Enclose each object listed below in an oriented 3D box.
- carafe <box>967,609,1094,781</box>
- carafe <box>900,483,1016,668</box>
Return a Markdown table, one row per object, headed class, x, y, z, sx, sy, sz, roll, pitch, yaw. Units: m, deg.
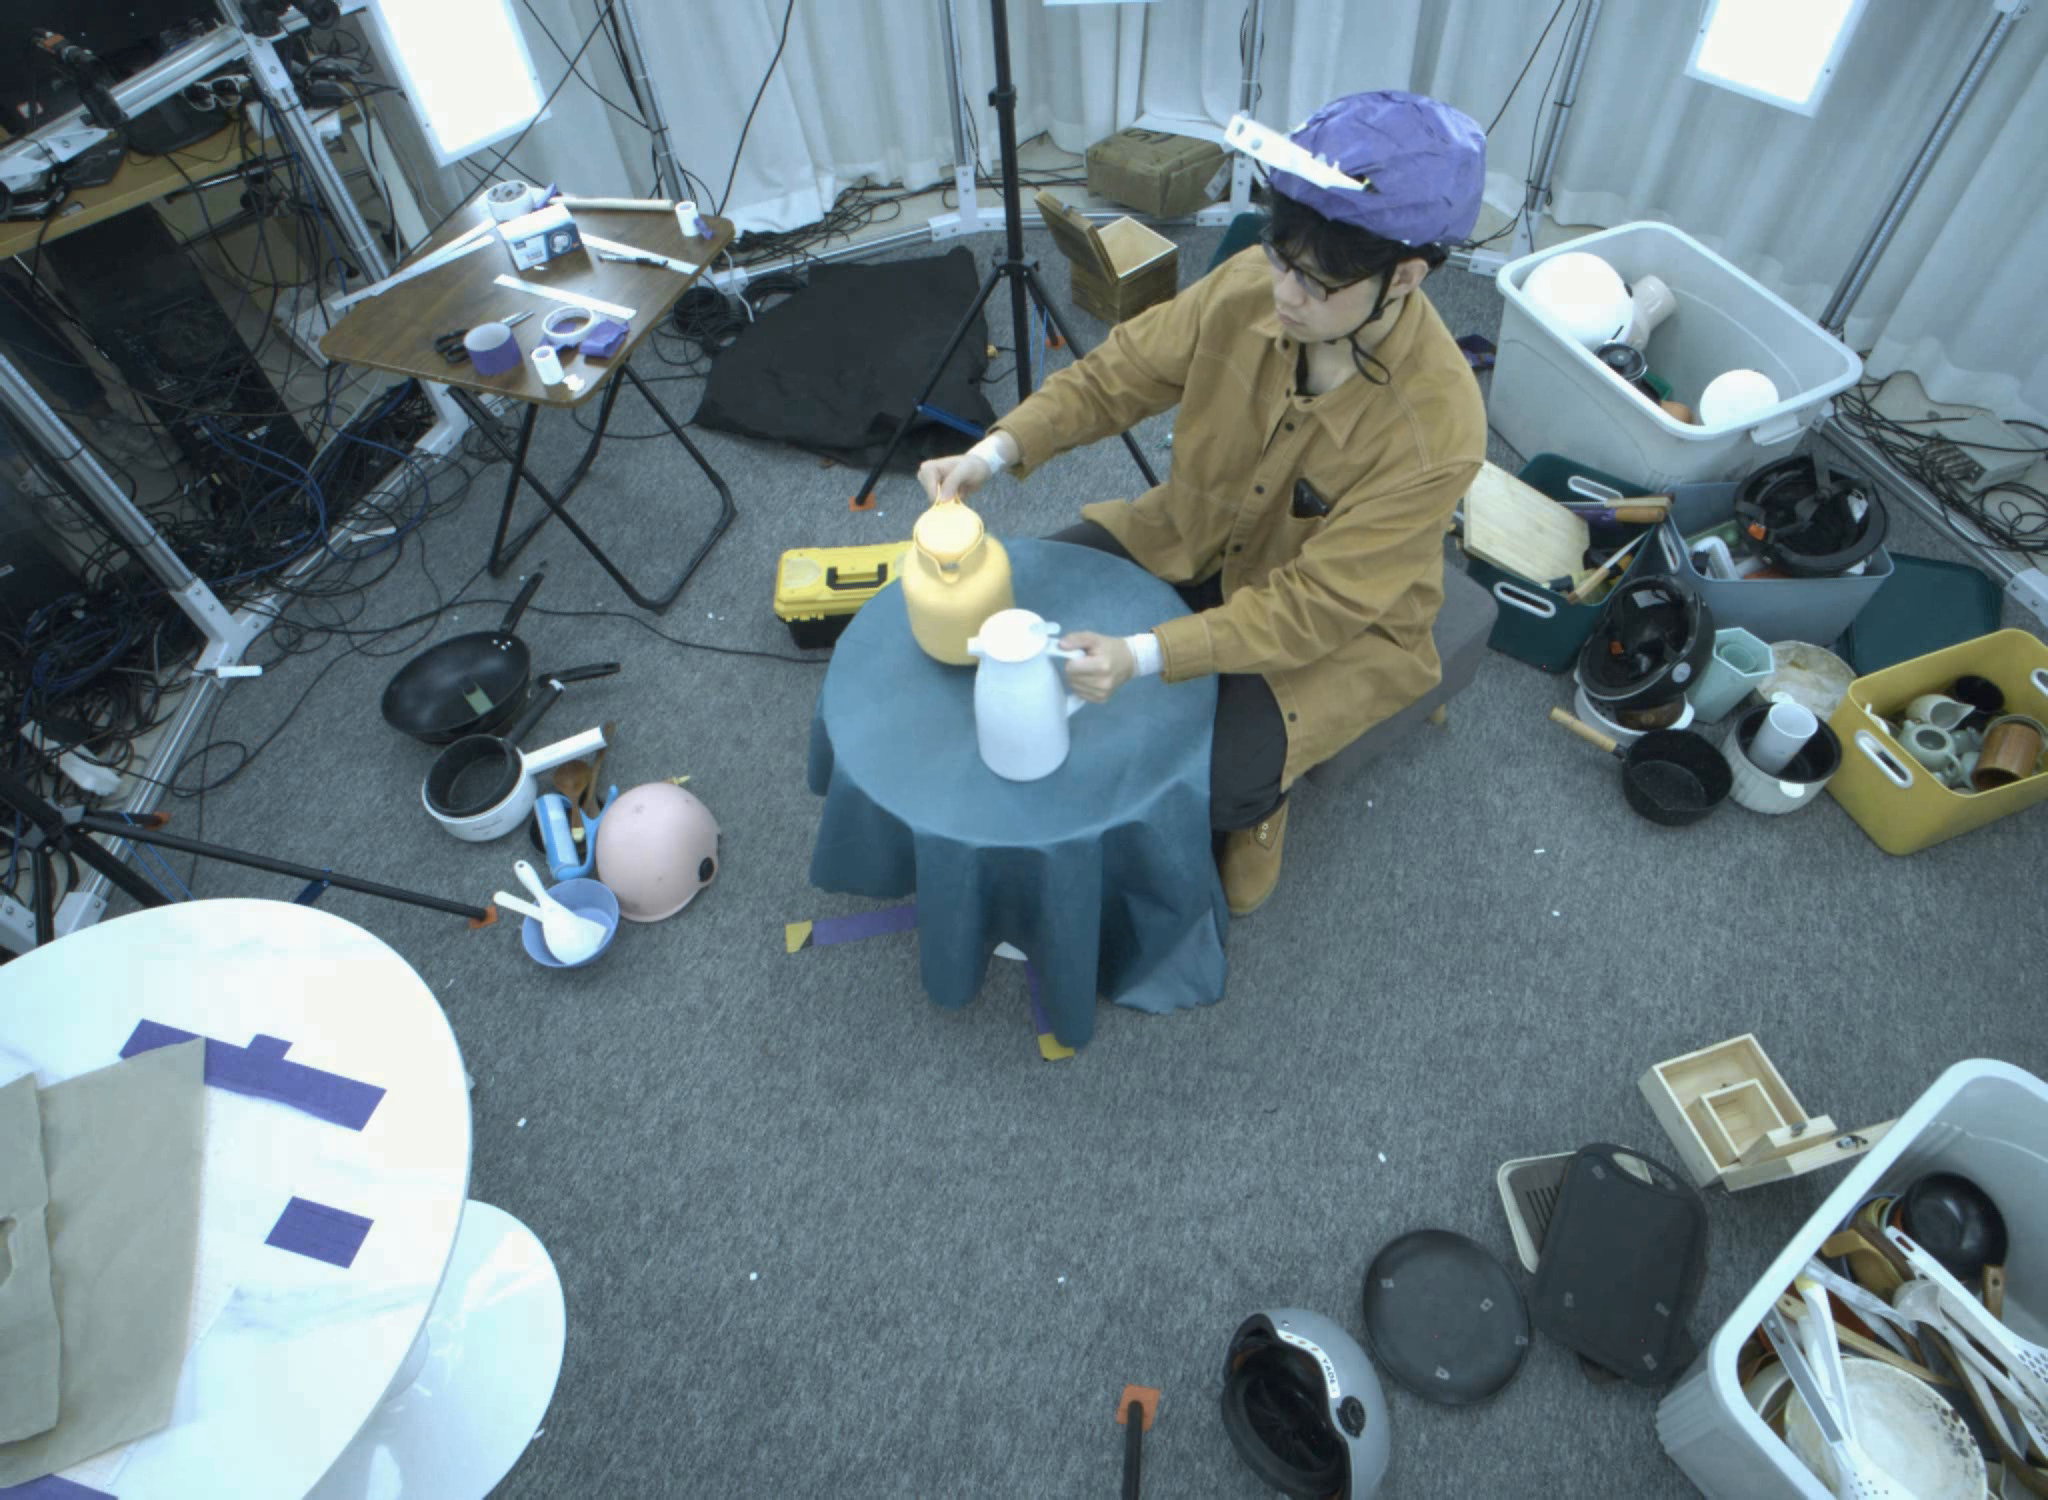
| class | x | y | z | sx | sy | sz | roll | pitch | yaw |
| --- | --- | --- | --- | --- | --- | --- | --- | --- | --- |
| carafe | 0.012 | -0.083 | 1.689 | 0.168 | 0.251 | 0.131 | -3 | 54 | 0 |
| carafe | -0.098 | -0.261 | 1.789 | 0.163 | 0.263 | 0.200 | -3 | 63 | 0 |
